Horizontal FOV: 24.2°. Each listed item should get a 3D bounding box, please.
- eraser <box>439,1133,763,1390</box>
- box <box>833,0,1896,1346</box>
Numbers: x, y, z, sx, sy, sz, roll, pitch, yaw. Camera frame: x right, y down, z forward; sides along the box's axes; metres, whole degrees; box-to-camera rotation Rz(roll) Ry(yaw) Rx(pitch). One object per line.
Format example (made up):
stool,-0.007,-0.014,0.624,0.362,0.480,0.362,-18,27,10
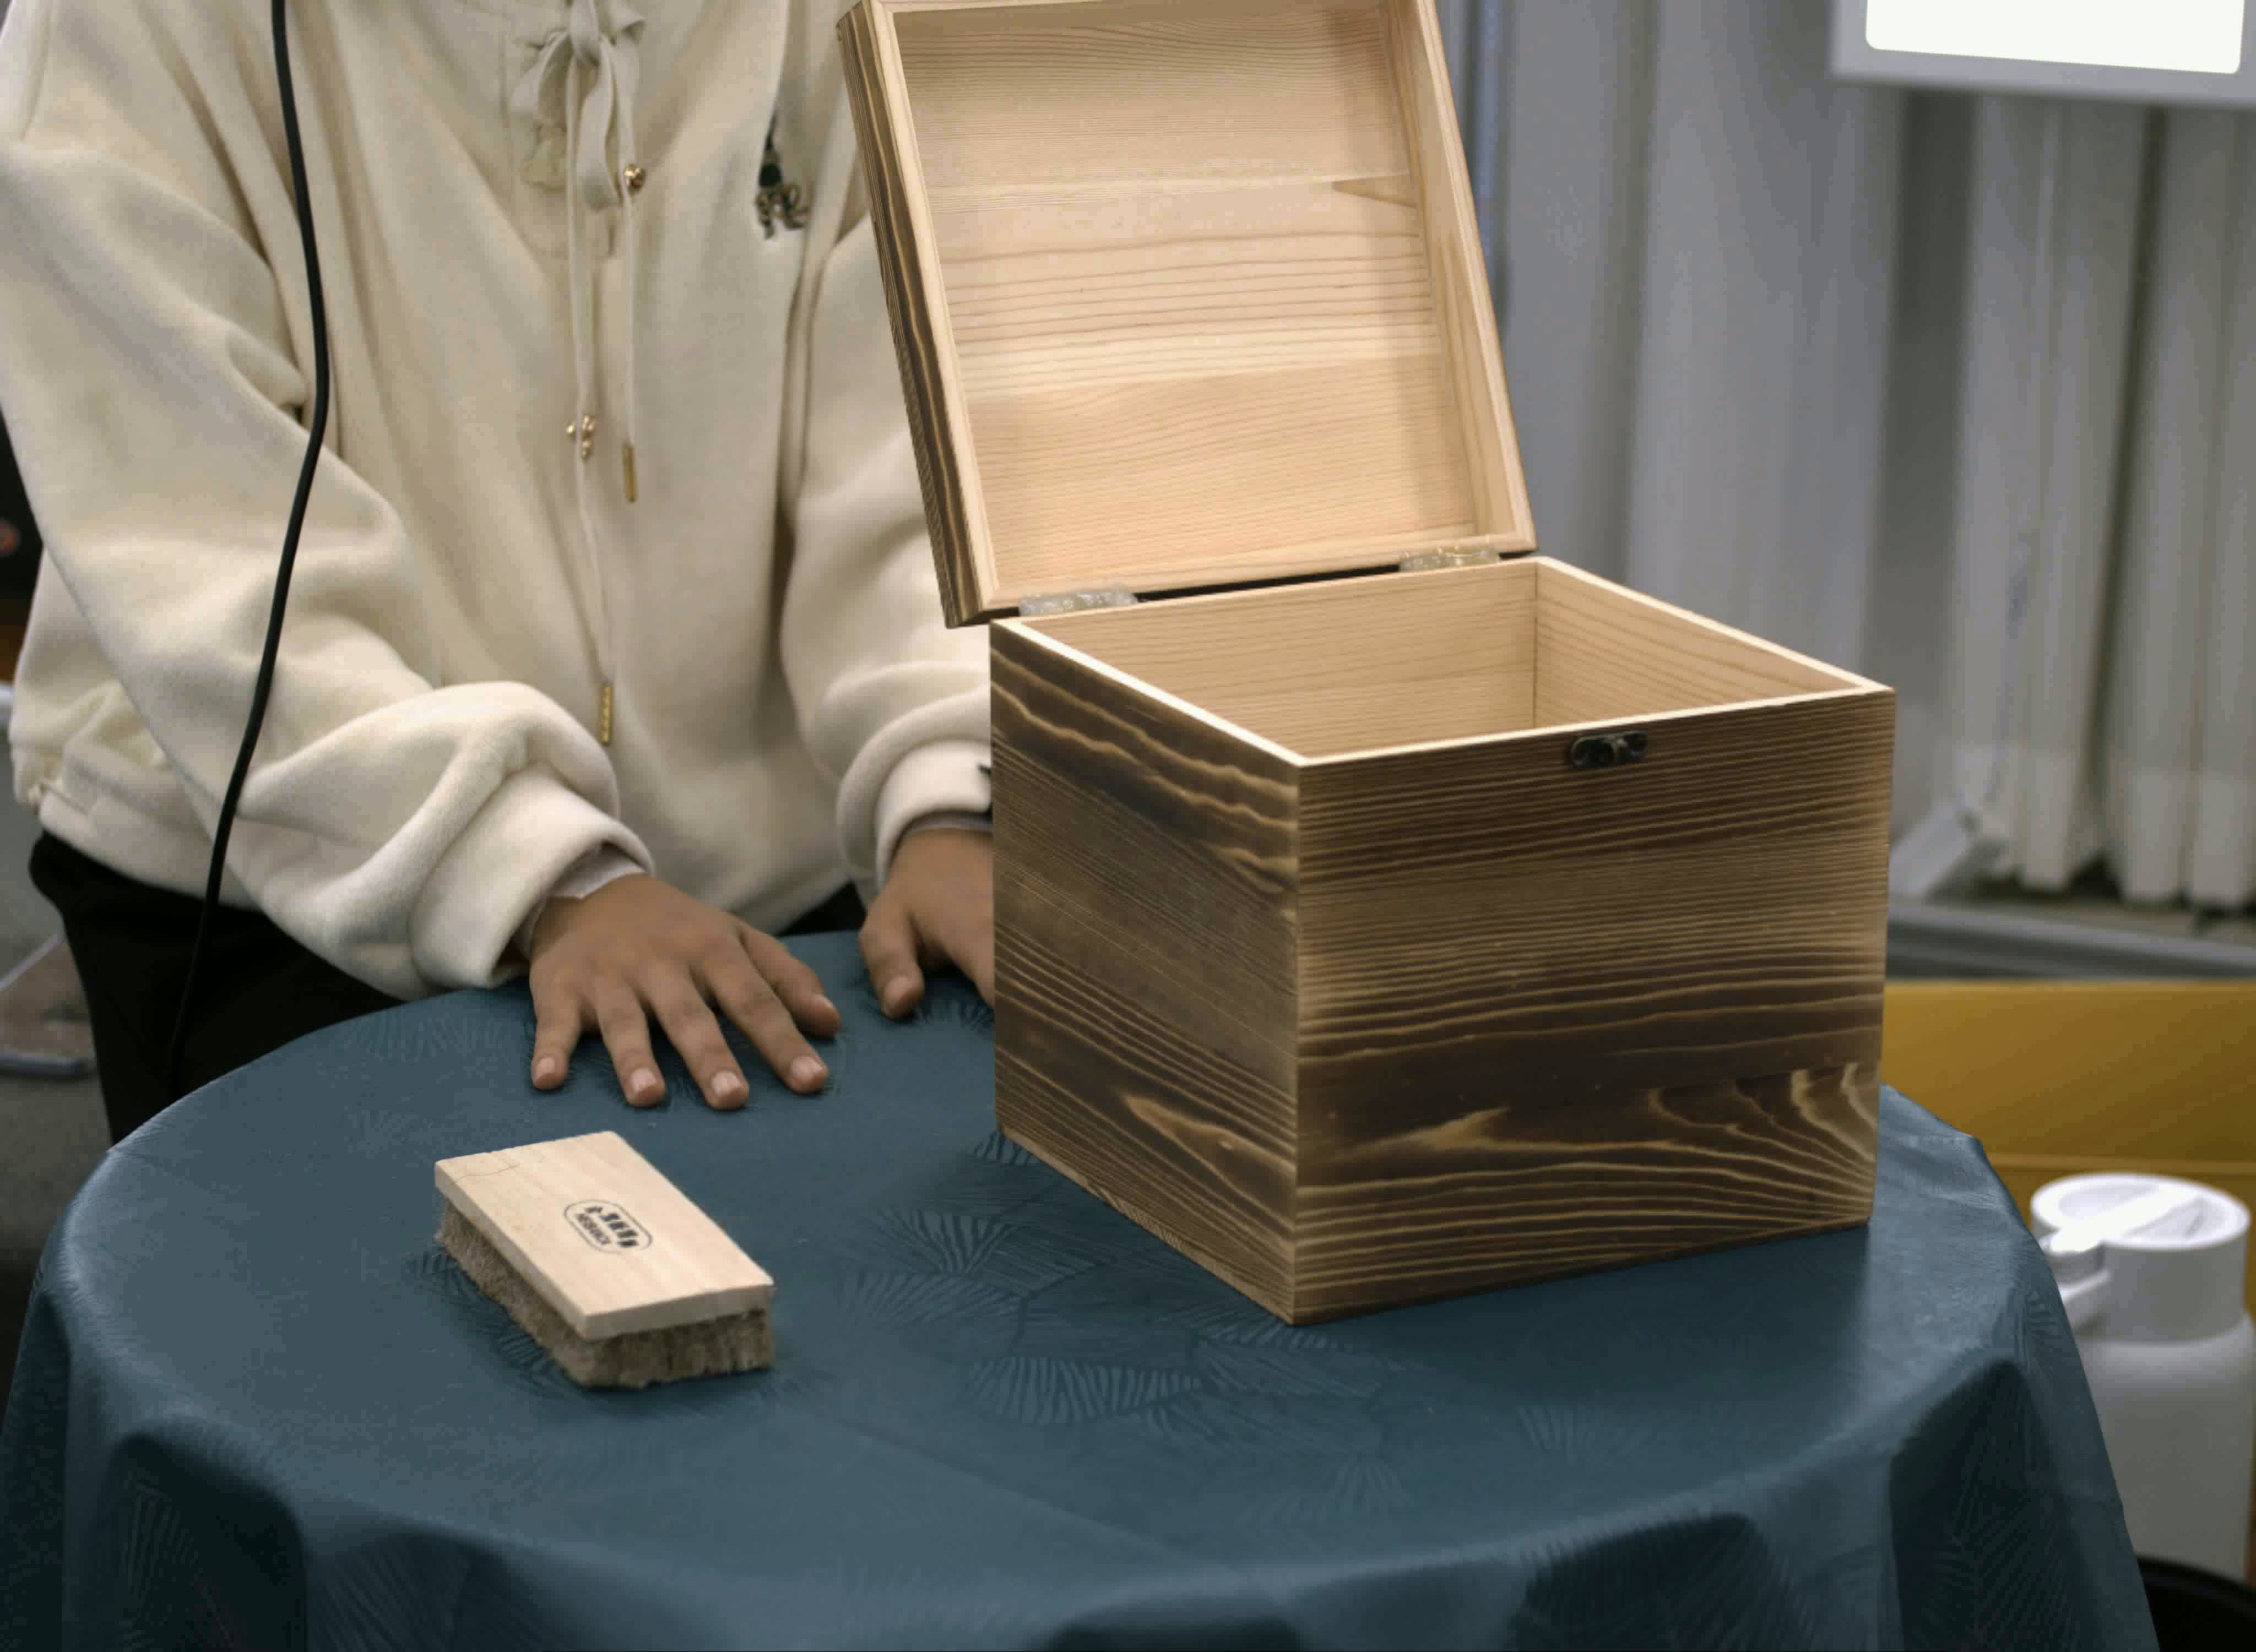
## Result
eraser,-0.152,0.126,1.515,0.057,0.029,0.138,-10,17,-21
box,0.066,-0.078,1.626,0.209,0.378,0.318,-9,19,-26
